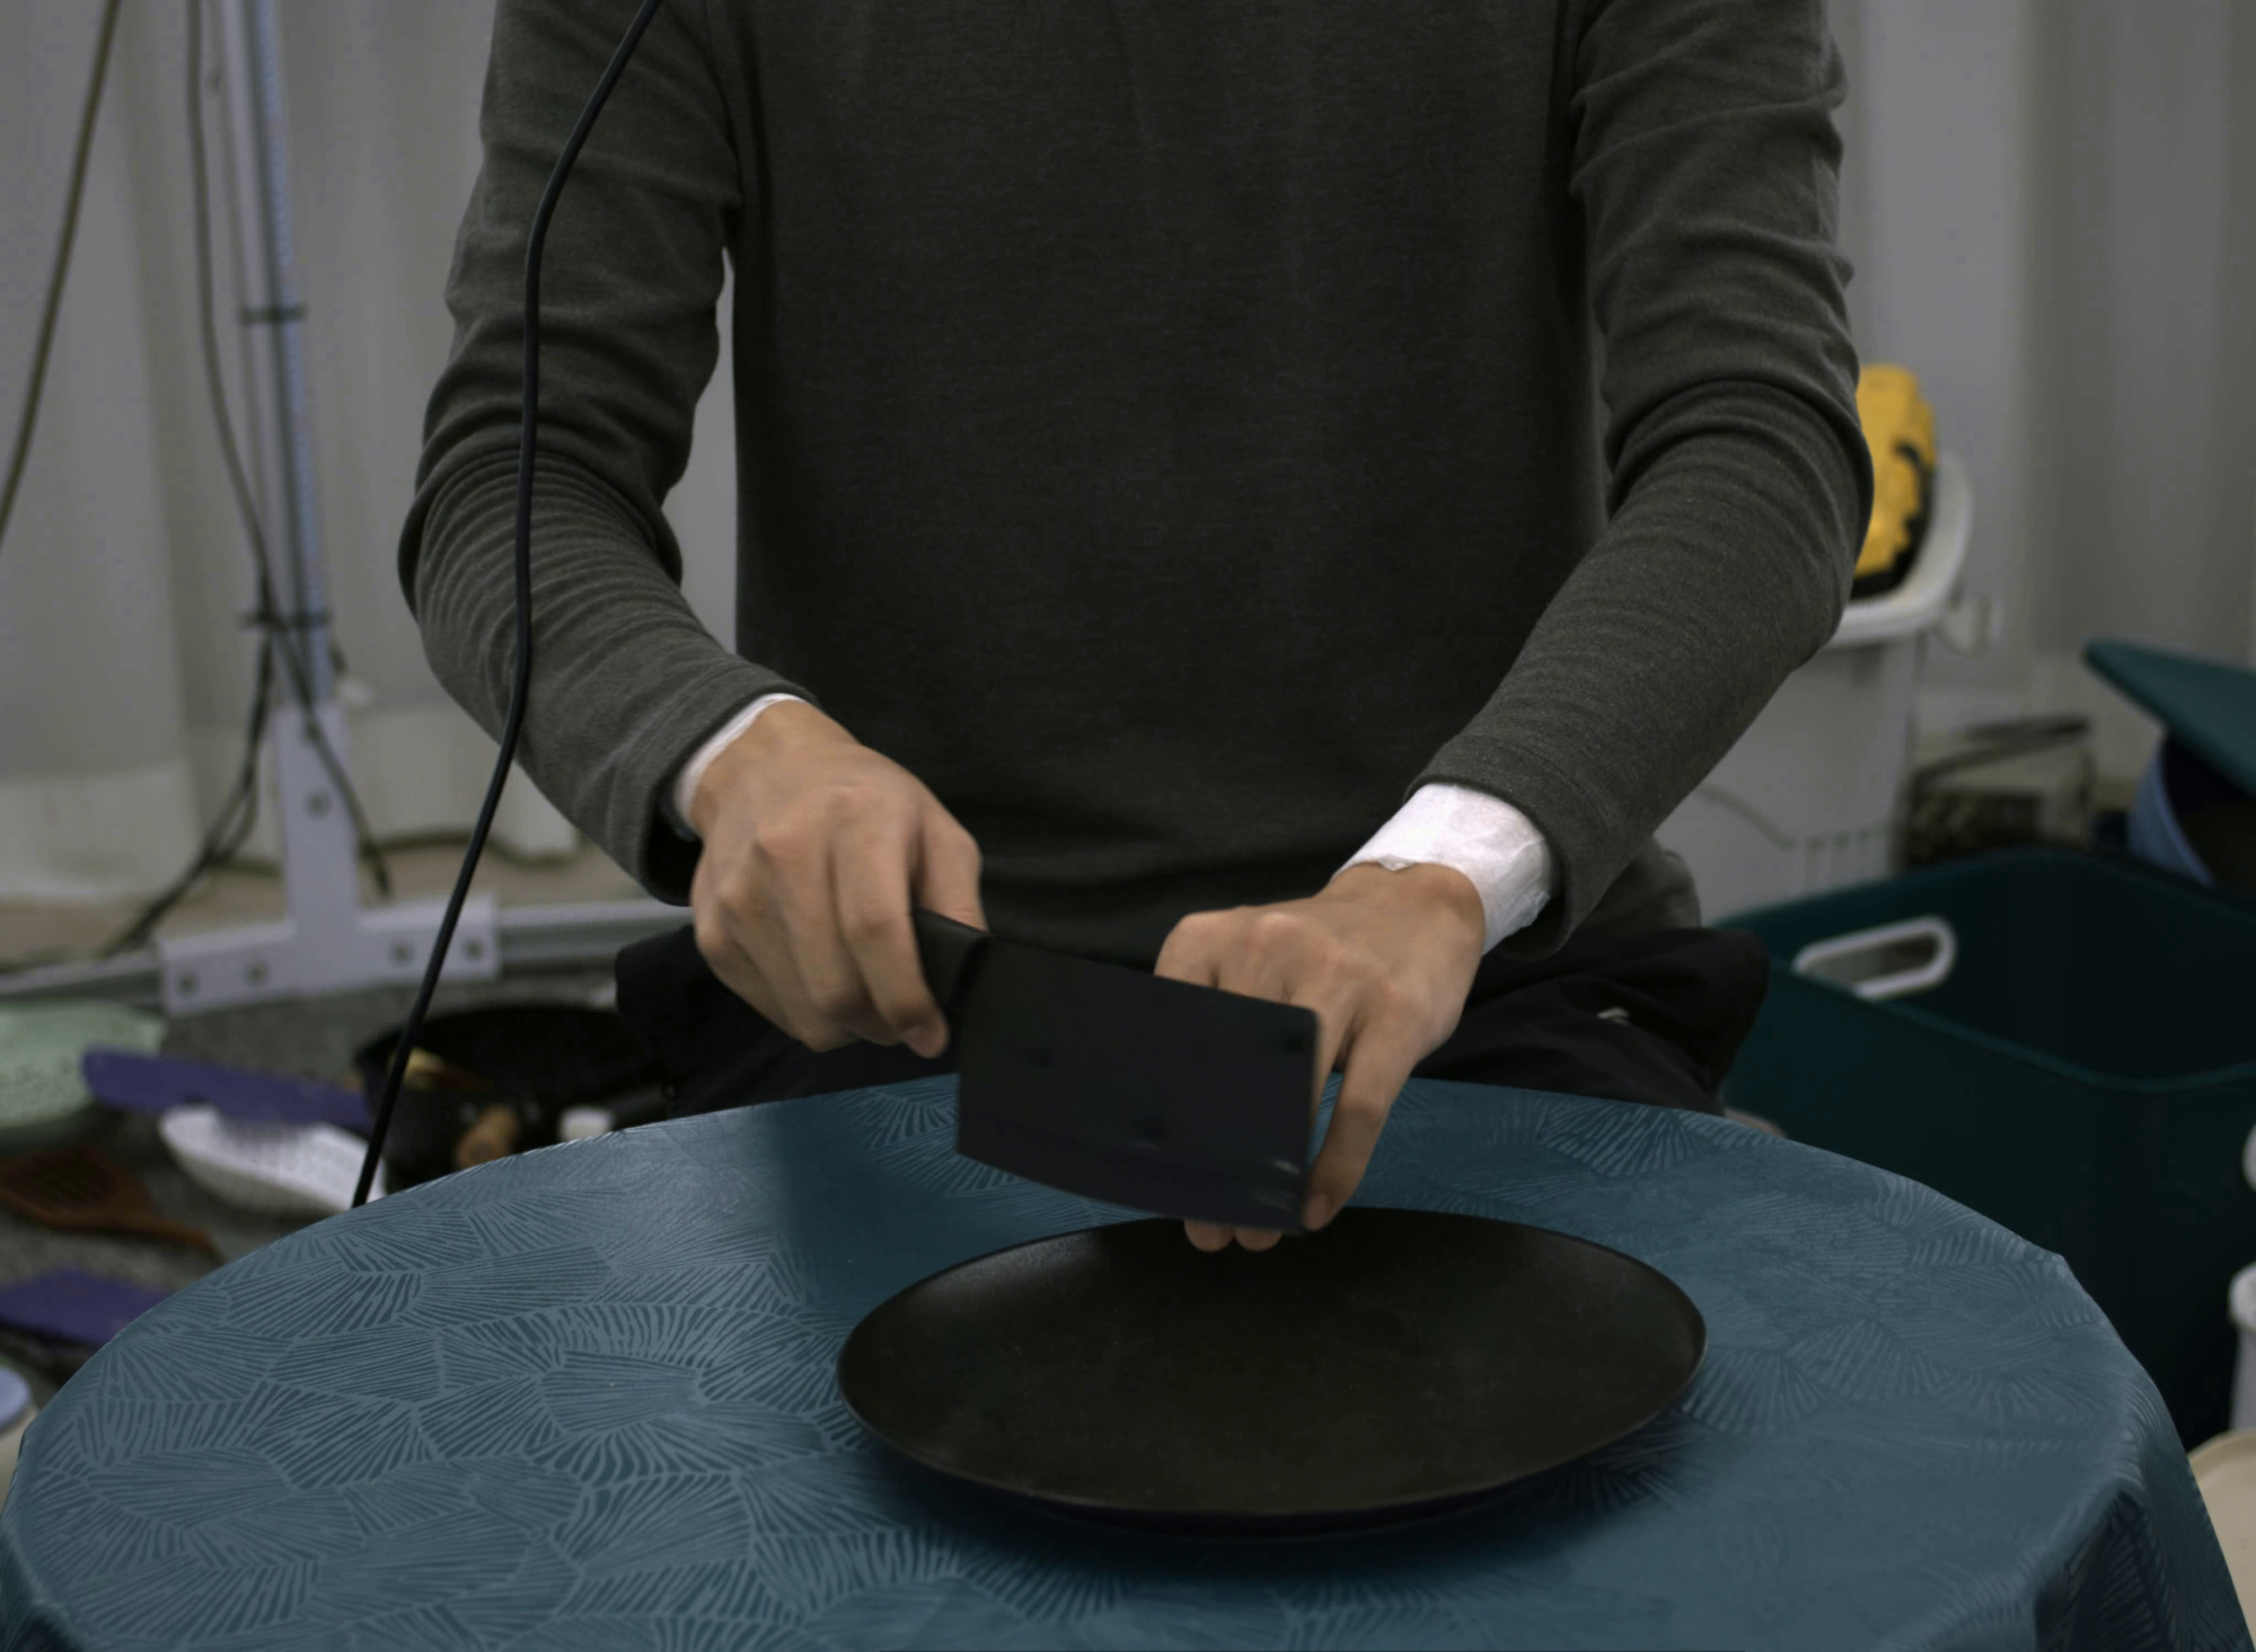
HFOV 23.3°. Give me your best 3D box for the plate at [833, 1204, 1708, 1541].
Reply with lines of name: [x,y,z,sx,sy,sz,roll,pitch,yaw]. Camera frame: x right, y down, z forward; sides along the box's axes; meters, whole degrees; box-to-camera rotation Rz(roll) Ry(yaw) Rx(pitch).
plate: [0.040,0.154,1.517,0.243,0.023,0.246,-3,15,0]

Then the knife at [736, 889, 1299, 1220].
knife: [-0.035,0.060,1.568,0.021,0.081,0.304,3,7,-32]
